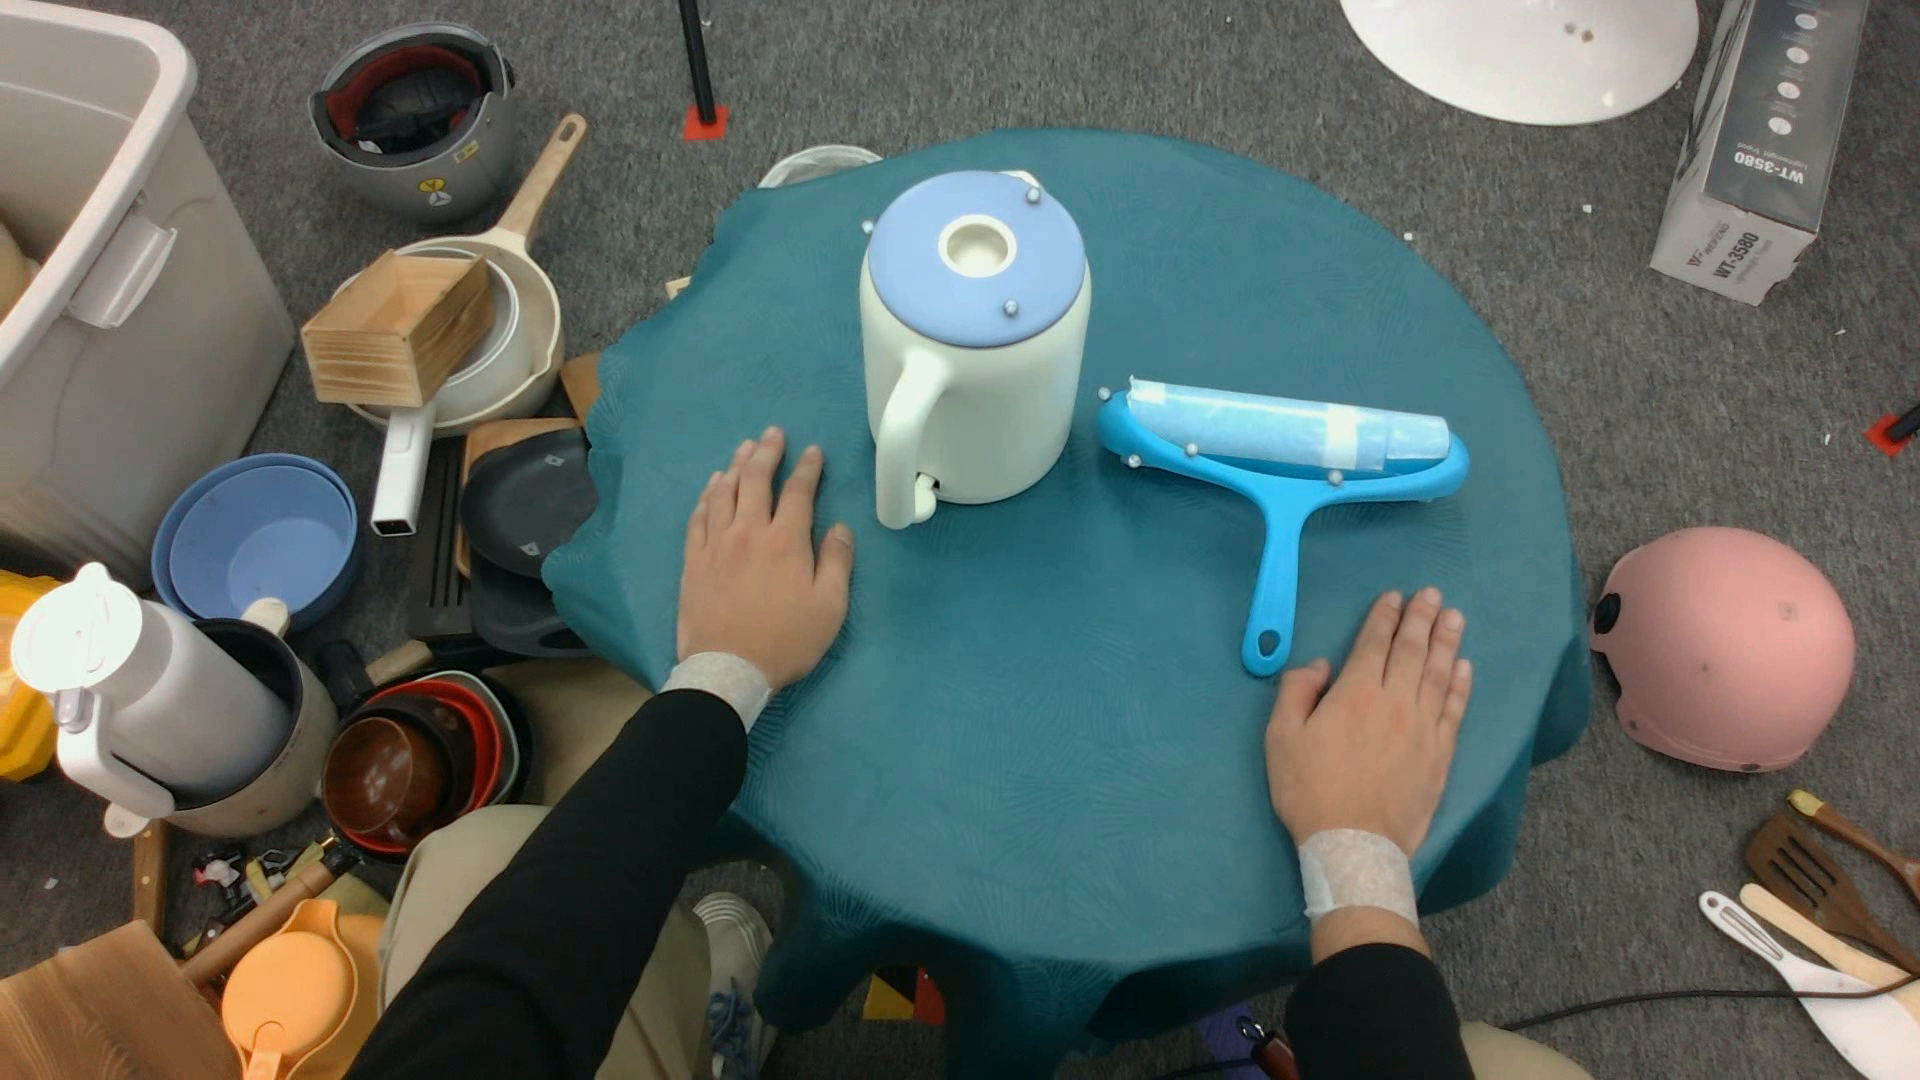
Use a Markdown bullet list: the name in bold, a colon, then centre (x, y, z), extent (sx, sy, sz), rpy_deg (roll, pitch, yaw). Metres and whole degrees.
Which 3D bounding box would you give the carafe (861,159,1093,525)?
- **carafe**: centre (-0.001, -0.100, 0.806), extent (0.132, 0.182, 0.192), rpy_deg (20, 66, 10)

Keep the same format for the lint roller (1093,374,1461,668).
- **lint roller**: centre (0.191, -0.015, 0.829), extent (0.229, 0.067, 0.181), rpy_deg (8, 56, -1)
